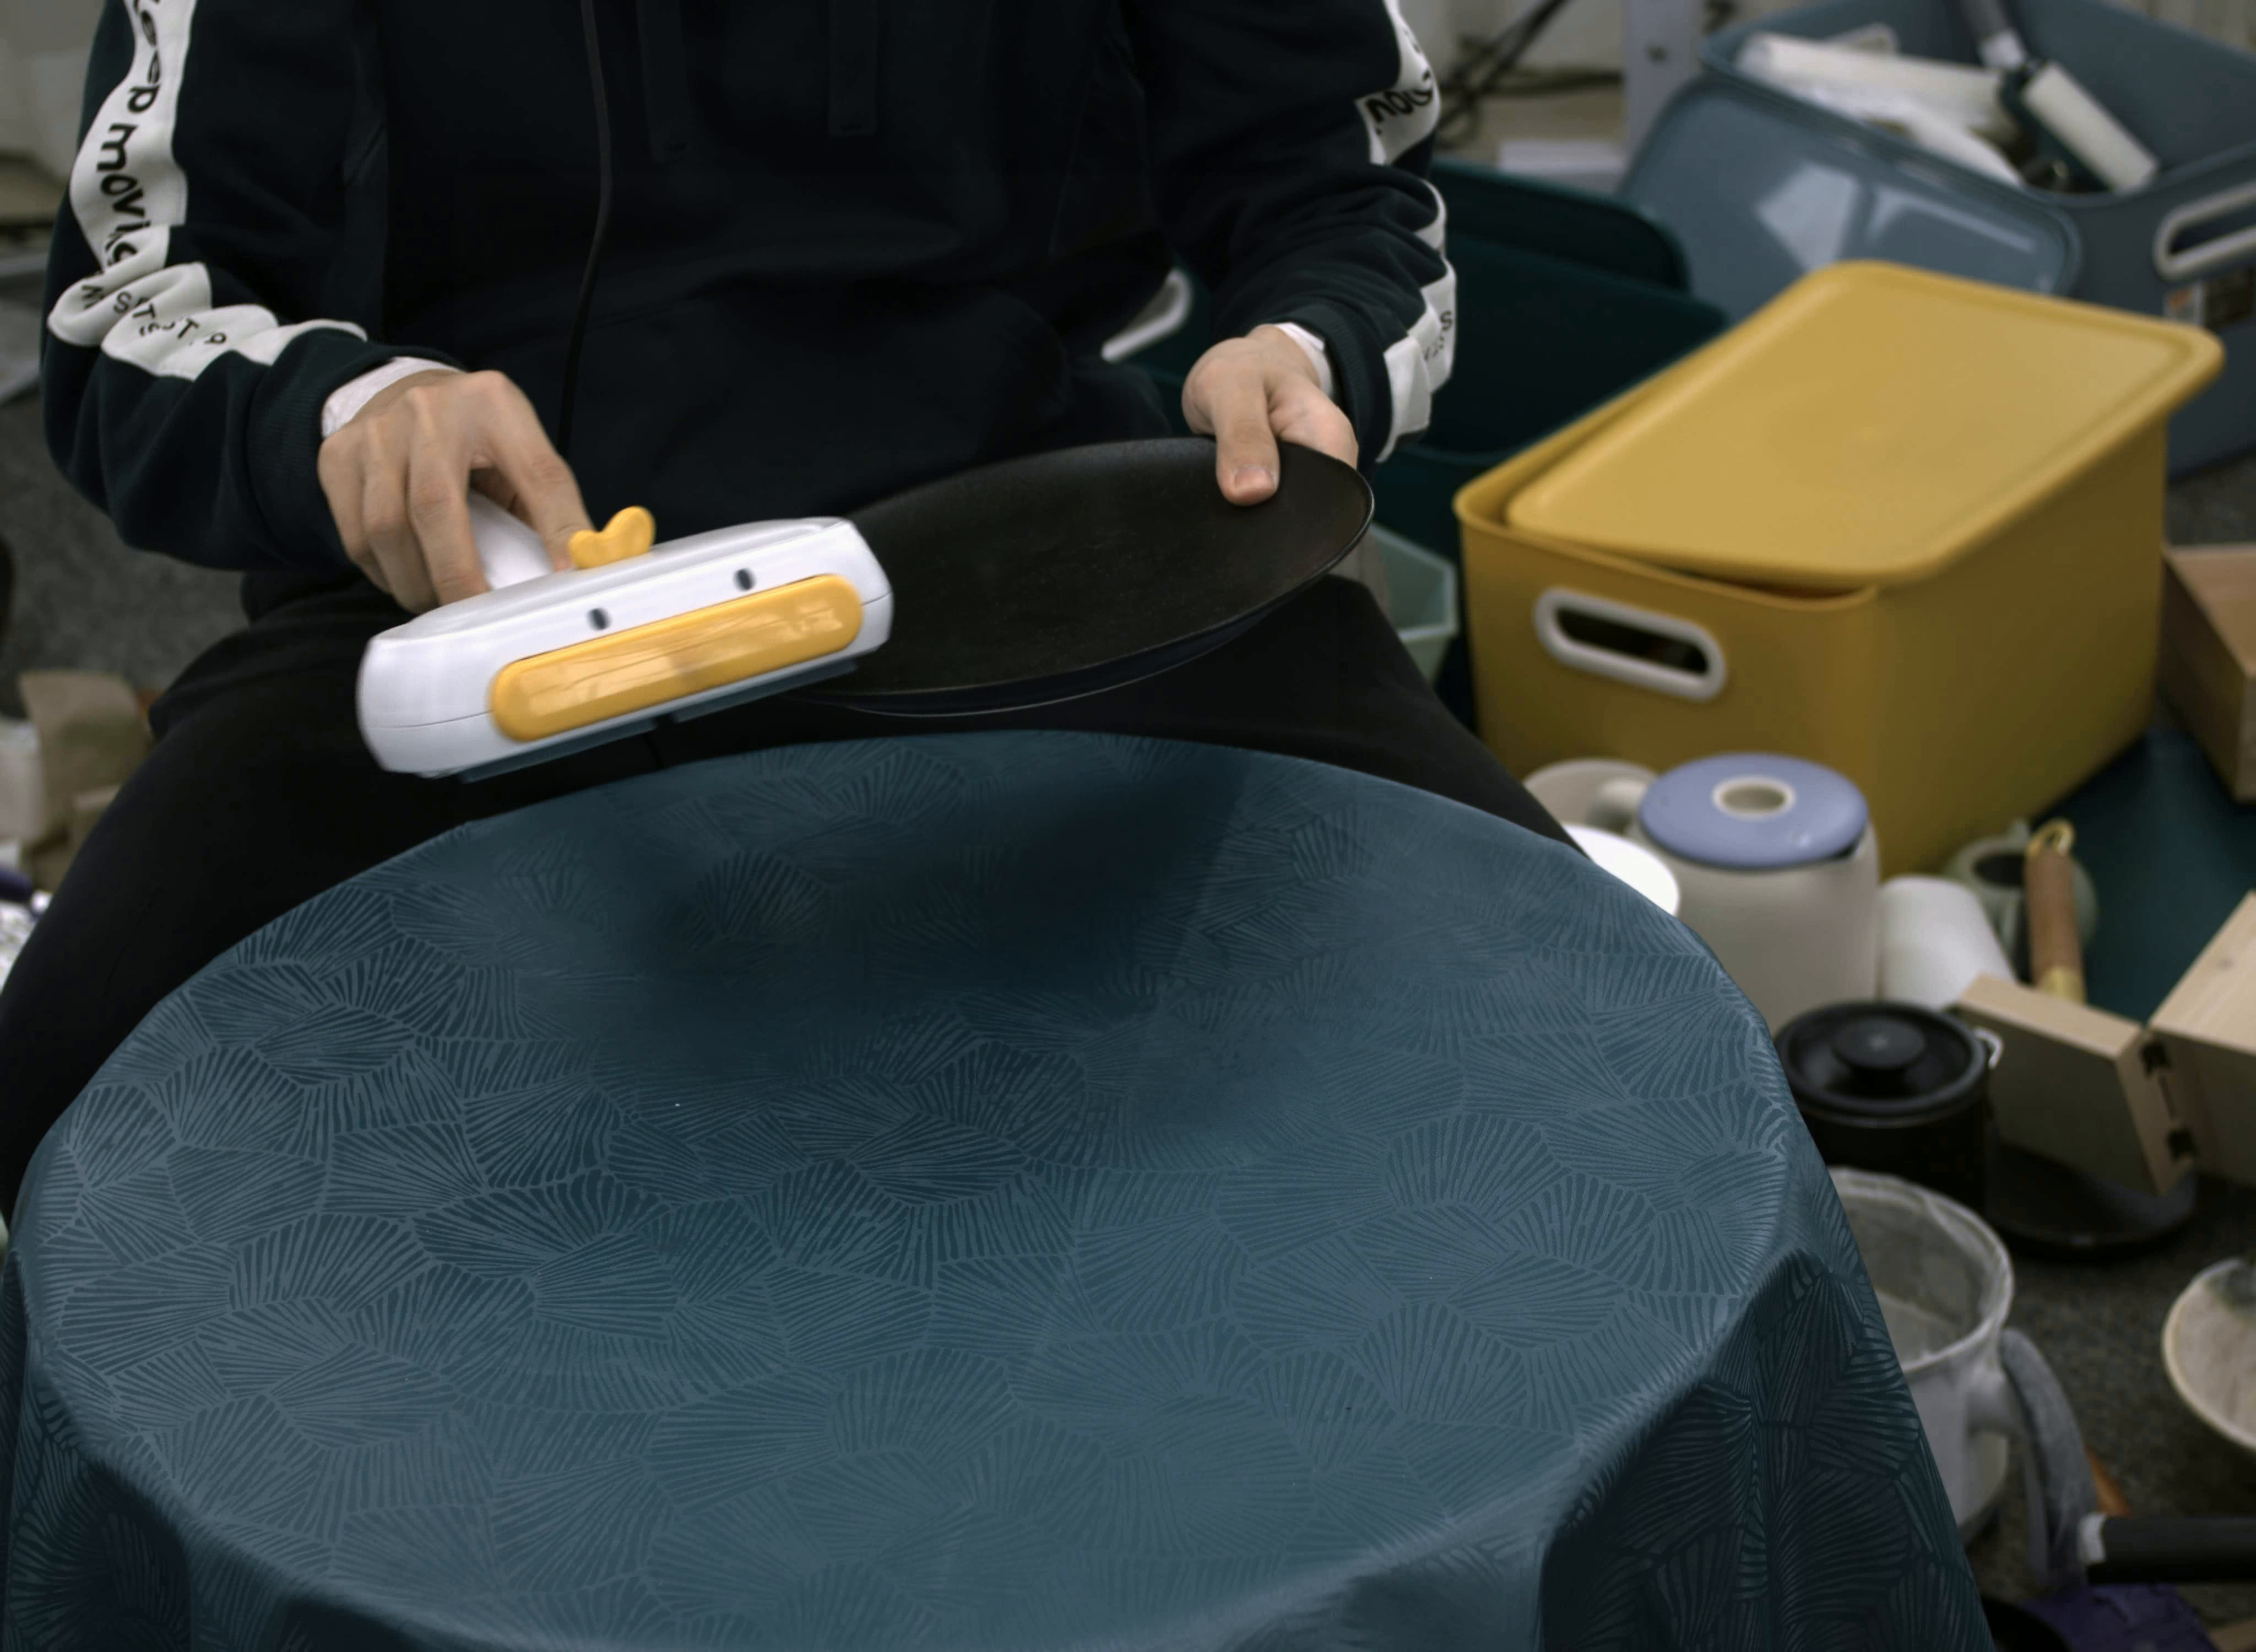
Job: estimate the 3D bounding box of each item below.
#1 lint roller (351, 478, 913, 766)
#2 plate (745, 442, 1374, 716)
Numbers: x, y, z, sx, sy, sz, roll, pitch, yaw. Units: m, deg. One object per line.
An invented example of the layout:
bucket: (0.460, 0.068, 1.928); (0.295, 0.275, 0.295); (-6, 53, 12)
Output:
lint roller: (-0.198, -0.080, 1.933); (0.195, 0.074, 0.191); (-25, 24, -36)
plate: (-0.031, -0.084, 1.988); (0.243, 0.023, 0.247); (-10, 21, 4)
